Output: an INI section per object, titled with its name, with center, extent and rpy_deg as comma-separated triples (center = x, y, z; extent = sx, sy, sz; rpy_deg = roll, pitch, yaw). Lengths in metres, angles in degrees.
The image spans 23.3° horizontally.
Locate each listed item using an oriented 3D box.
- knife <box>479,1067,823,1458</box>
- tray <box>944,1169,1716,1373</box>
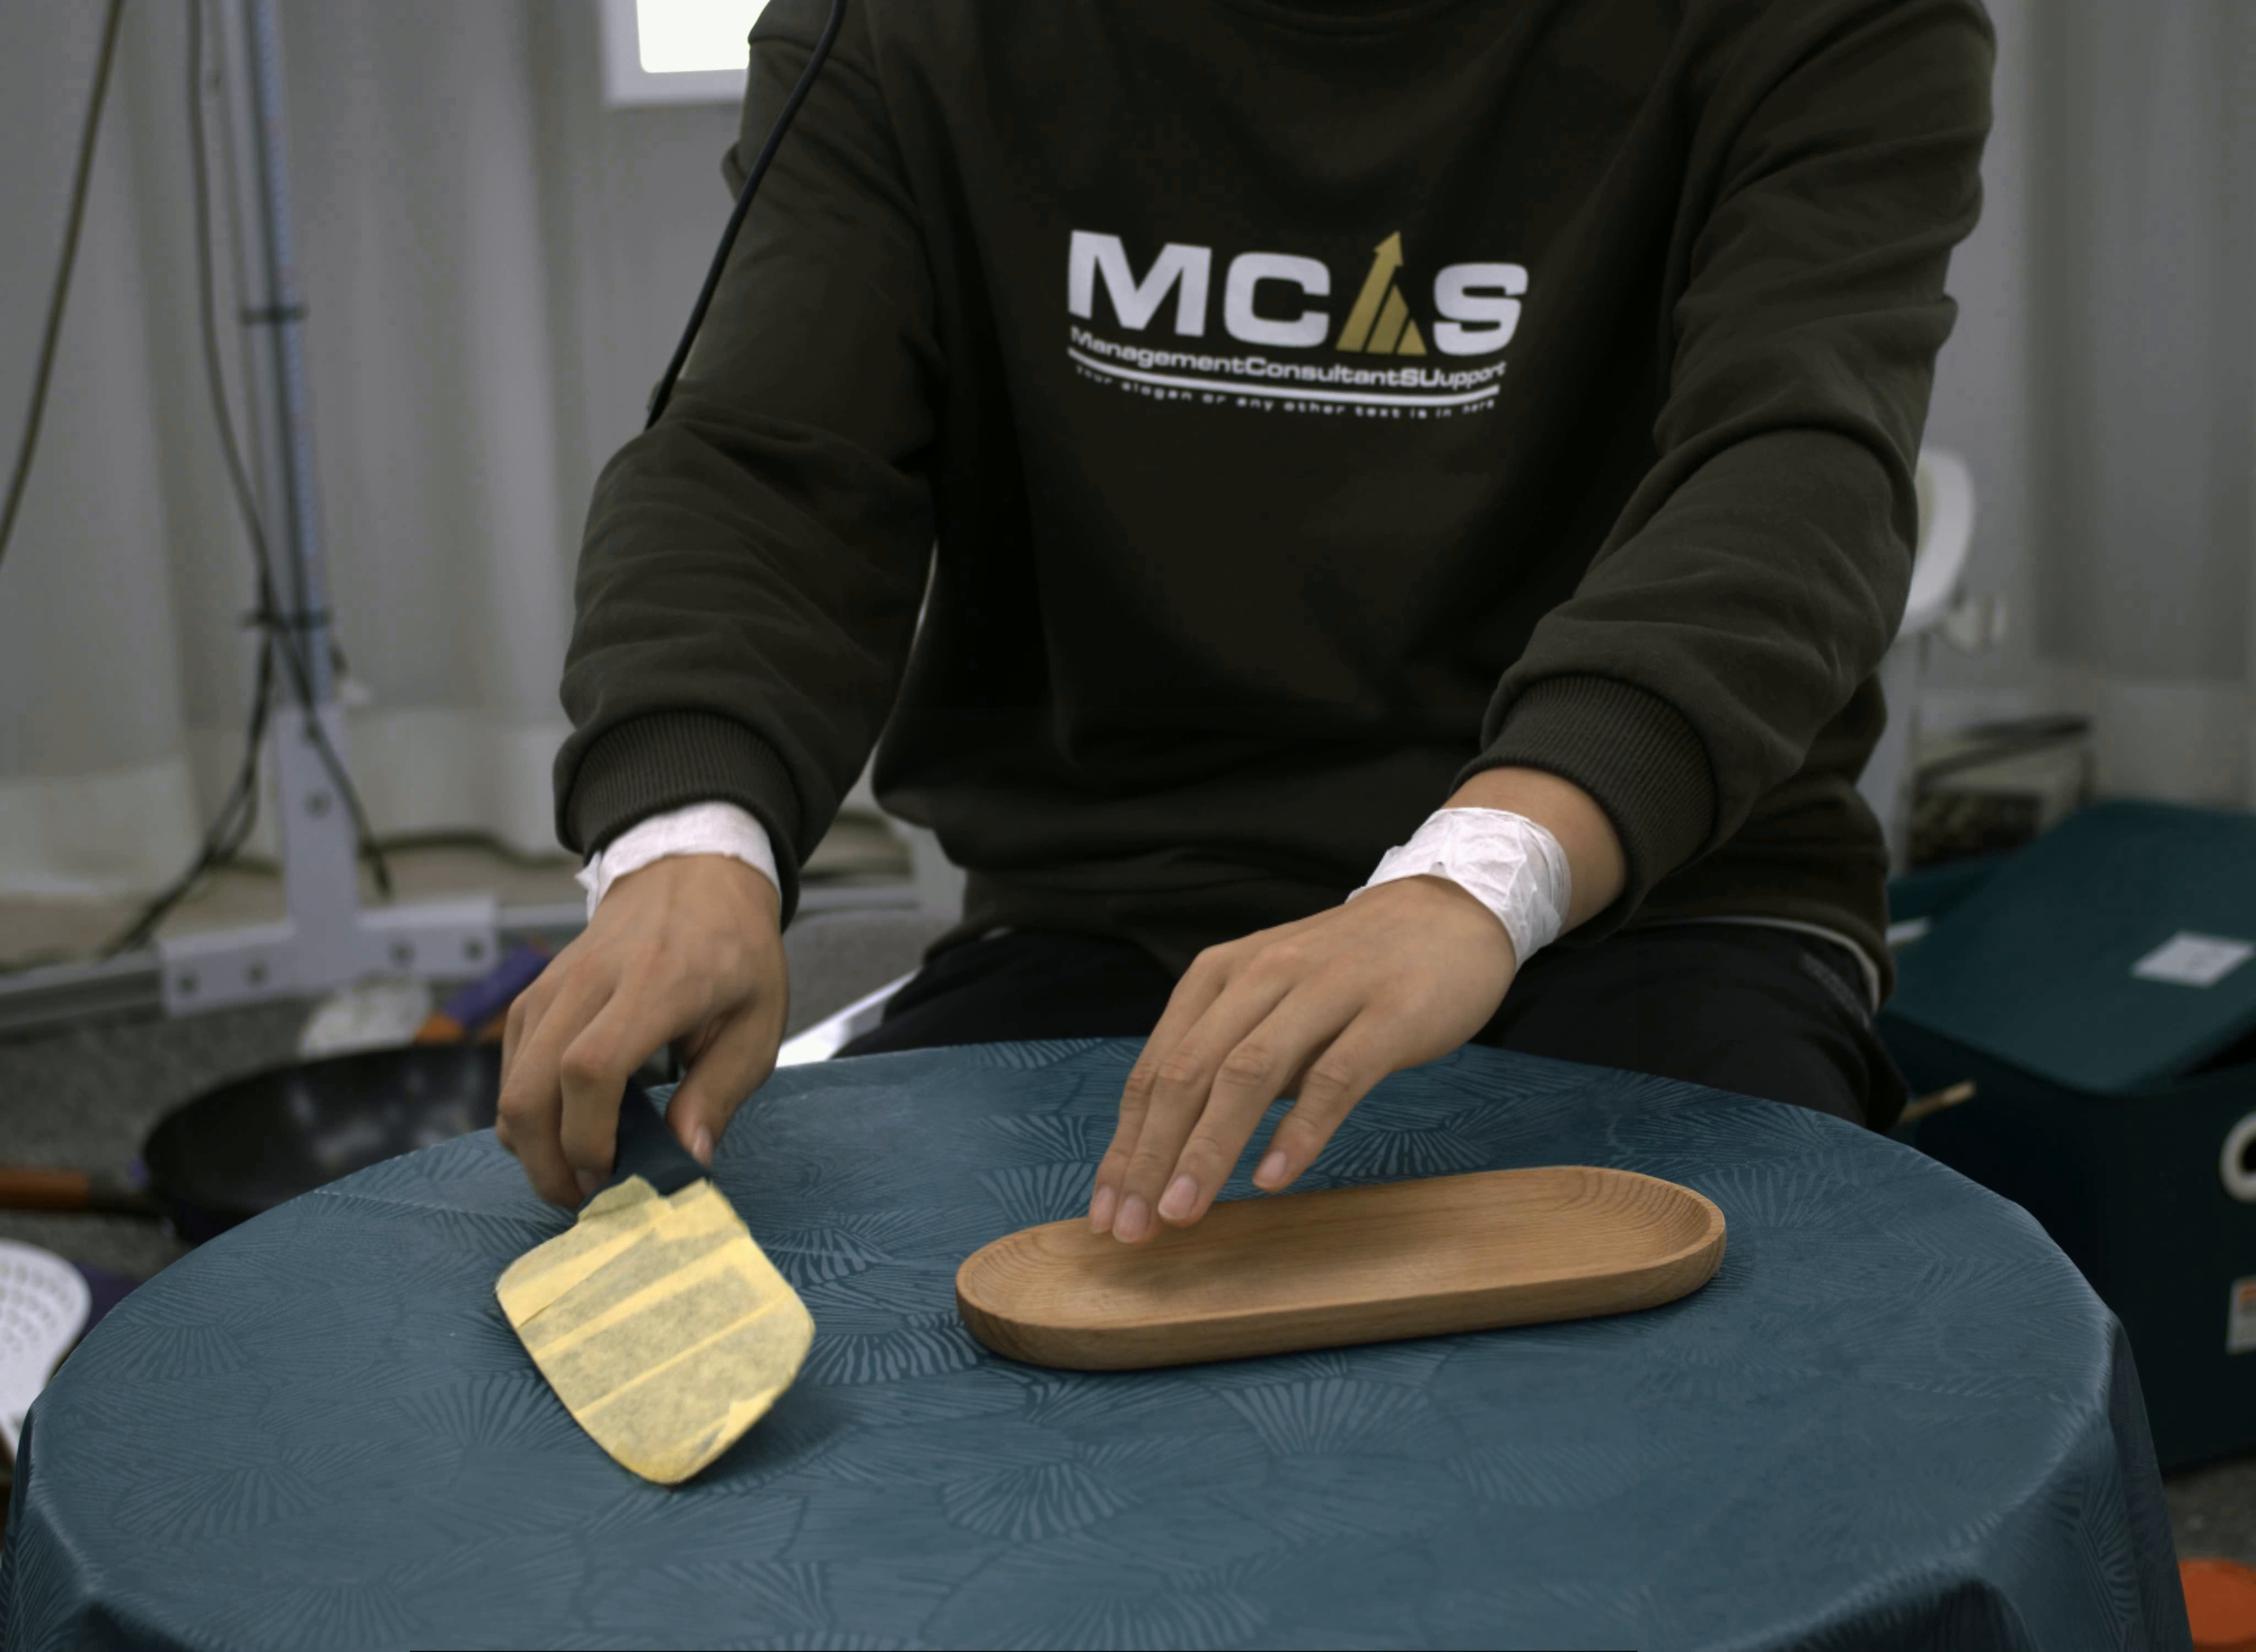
[knife]
center = -0.152, 0.129, 1.623
extent = 0.081, 0.027, 0.292
rpy_deg = -22, 22, -10
[tray]
center = 0.060, 0.131, 1.611
extent = 0.230, 0.020, 0.102
rpy_deg = -7, 14, -10
